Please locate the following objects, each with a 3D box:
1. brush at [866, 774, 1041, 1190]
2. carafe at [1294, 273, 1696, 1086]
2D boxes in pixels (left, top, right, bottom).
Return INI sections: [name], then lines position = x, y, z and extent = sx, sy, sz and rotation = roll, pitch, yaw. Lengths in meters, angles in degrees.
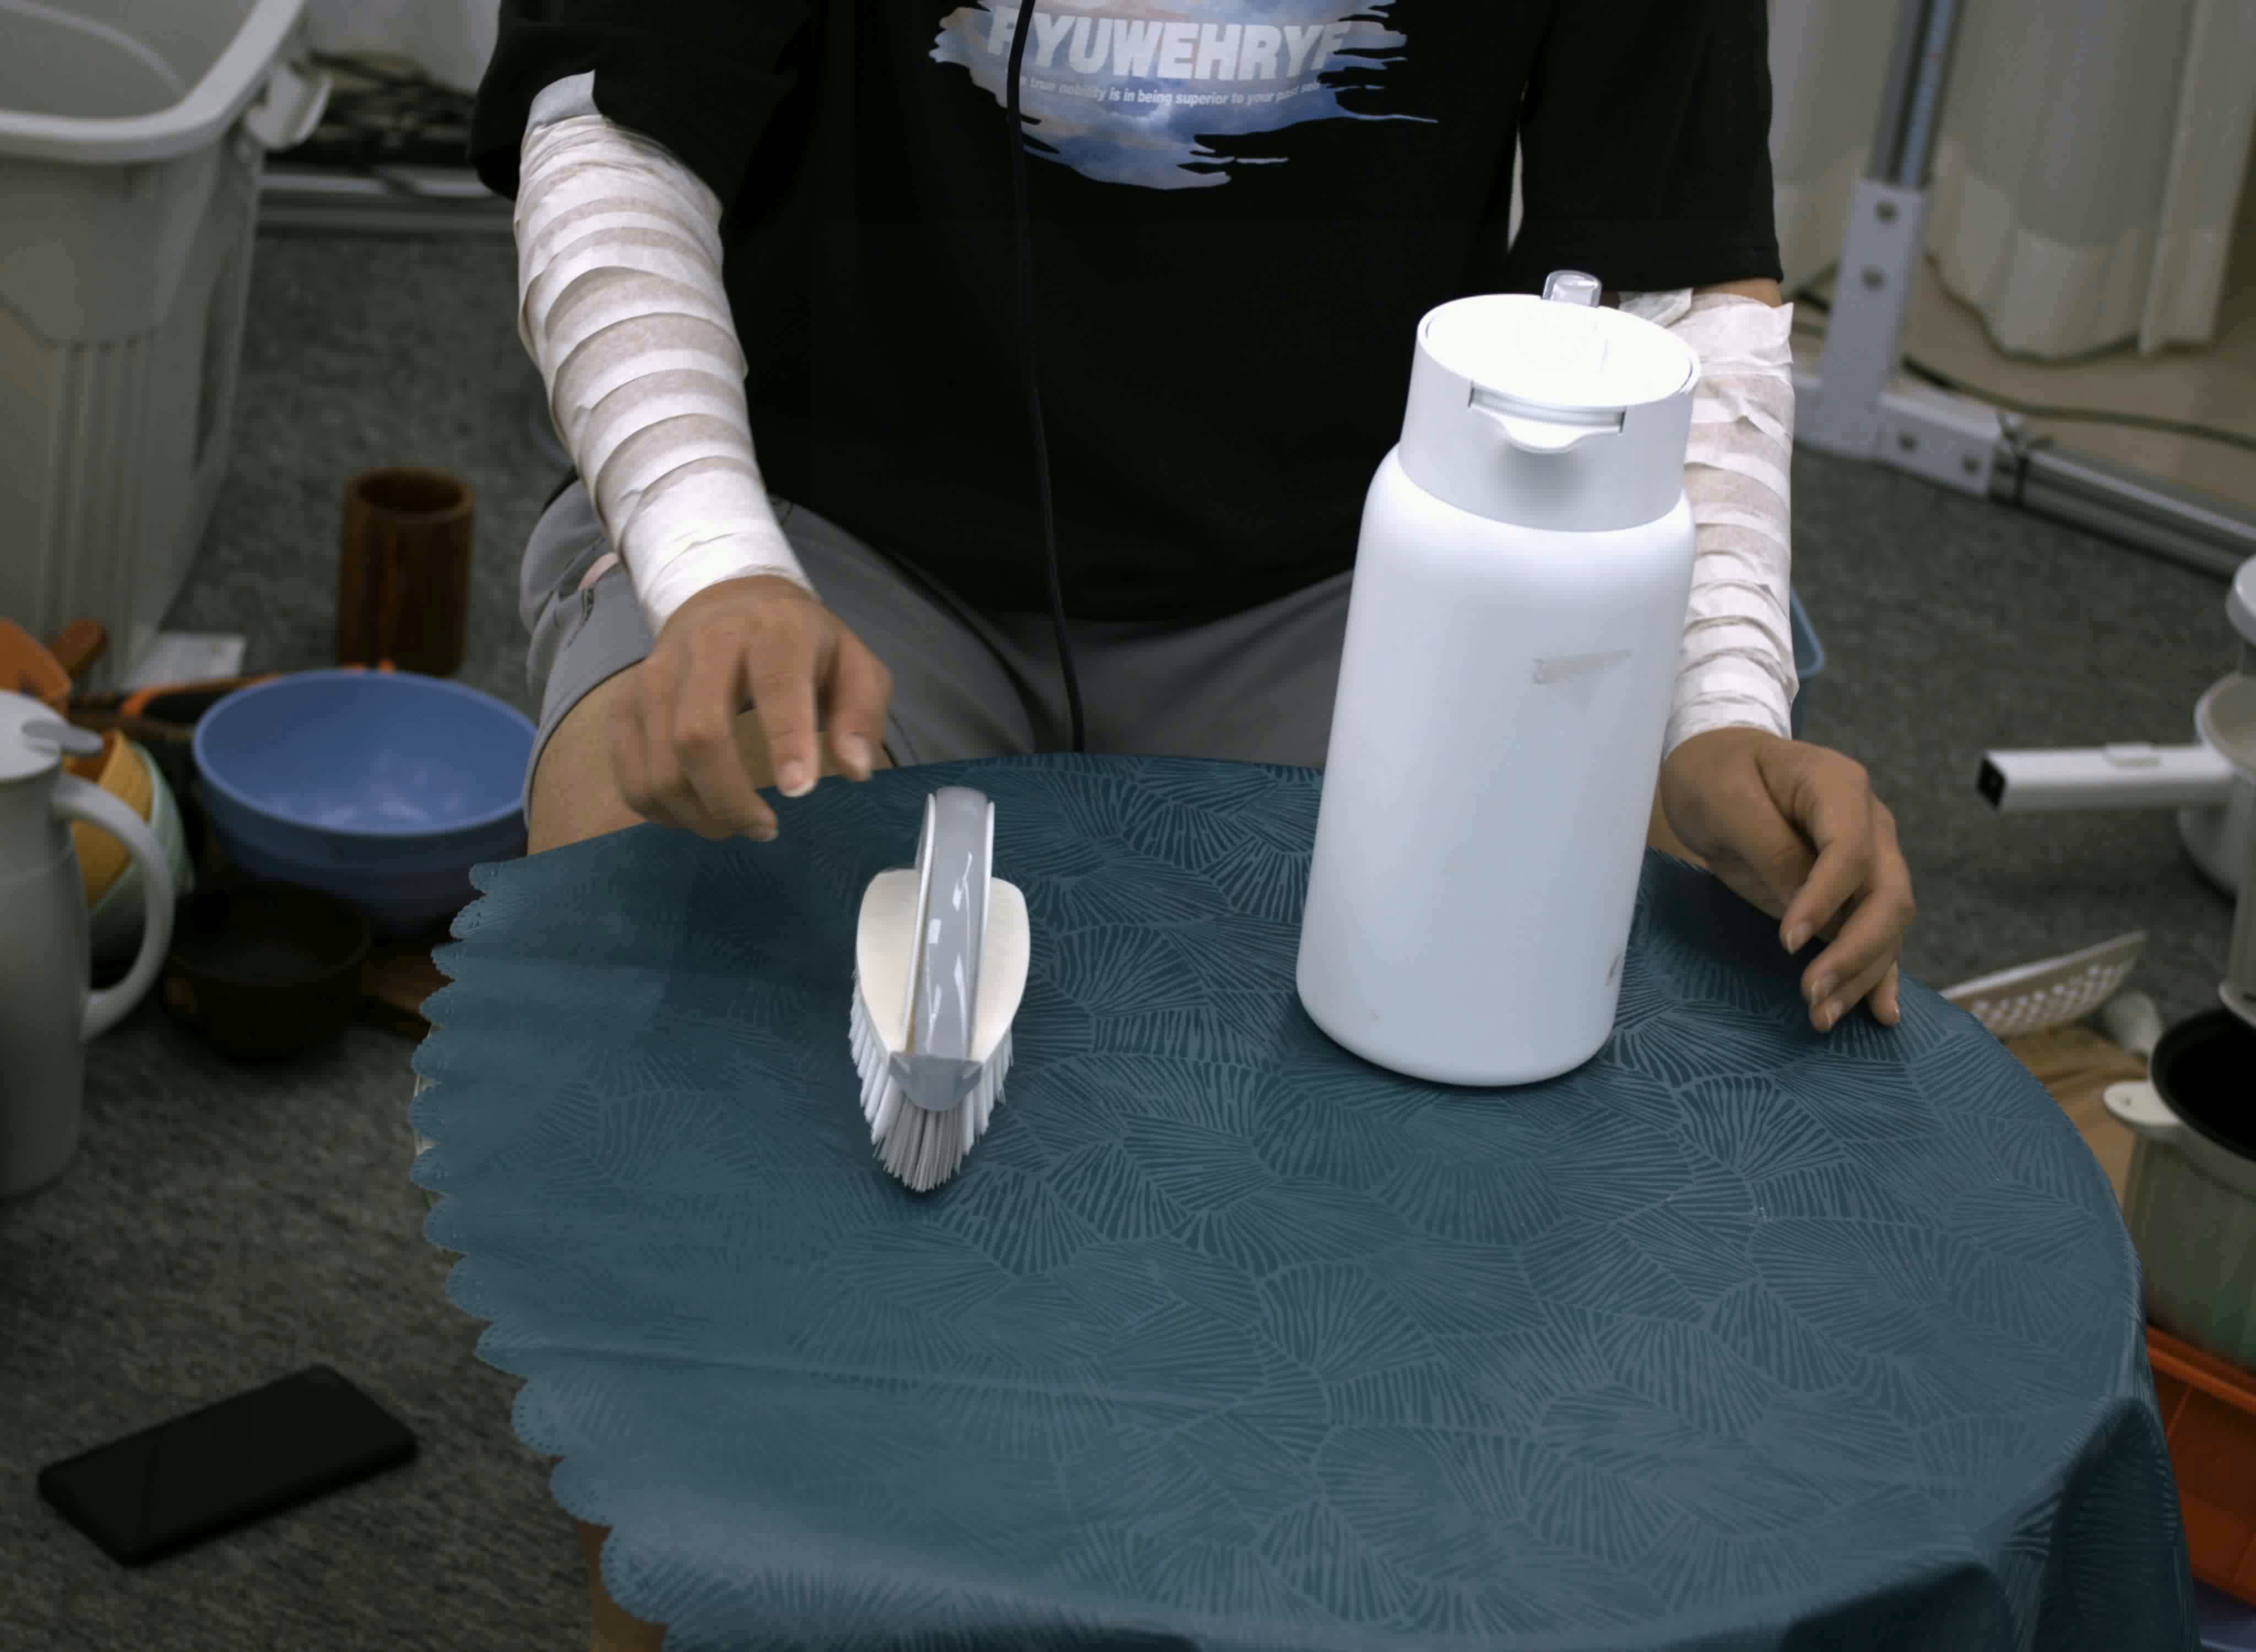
[brush]
position = -0.061, 0.046, 1.842
extent = 0.061, 0.094, 0.176
rotation = 4, 28, -1
[carafe]
position = 0.132, -0.056, 1.894
extent = 0.123, 0.268, 0.173
rotation = 7, 26, 5
